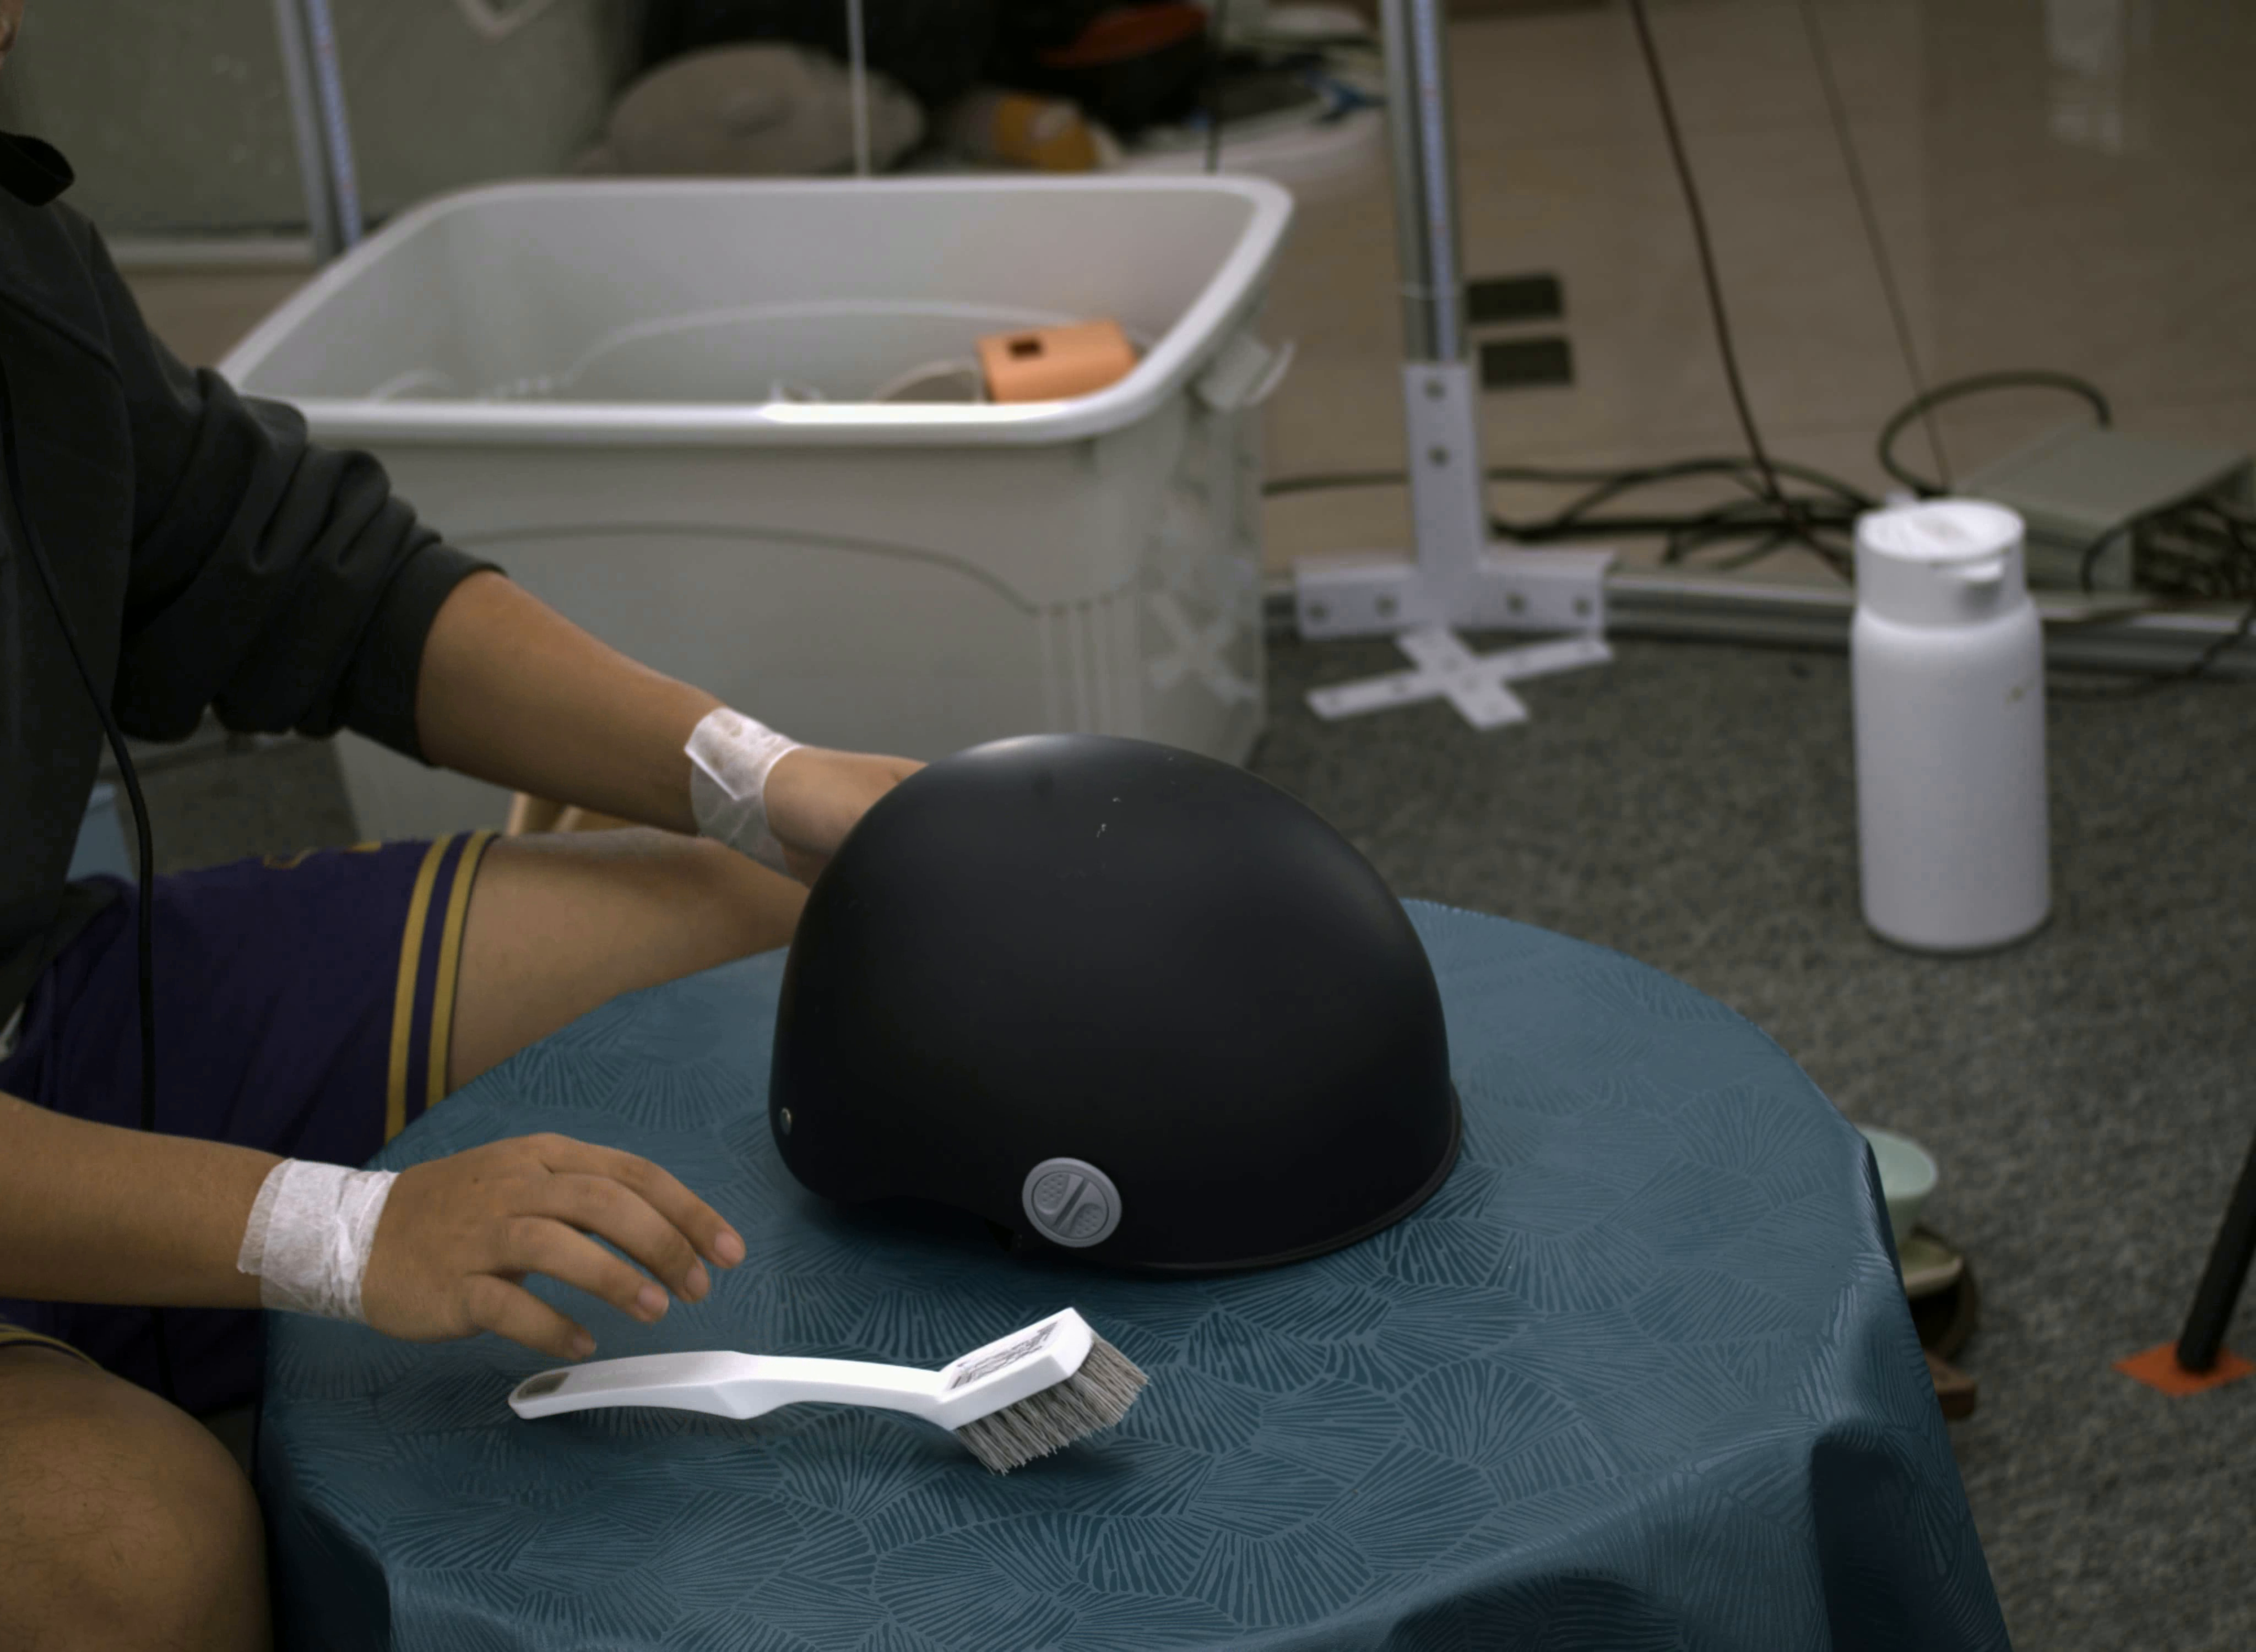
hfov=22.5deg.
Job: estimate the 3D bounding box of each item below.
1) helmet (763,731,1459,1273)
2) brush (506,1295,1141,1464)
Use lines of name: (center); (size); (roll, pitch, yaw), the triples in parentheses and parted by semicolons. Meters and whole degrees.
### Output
helmet: (-0.011, 0.053, 2.145); (0.272, 0.169, 0.227); (10, 33, 28)
brush: (-0.109, 0.206, 2.002); (0.244, 0.051, 0.034); (-10, 26, 25)
